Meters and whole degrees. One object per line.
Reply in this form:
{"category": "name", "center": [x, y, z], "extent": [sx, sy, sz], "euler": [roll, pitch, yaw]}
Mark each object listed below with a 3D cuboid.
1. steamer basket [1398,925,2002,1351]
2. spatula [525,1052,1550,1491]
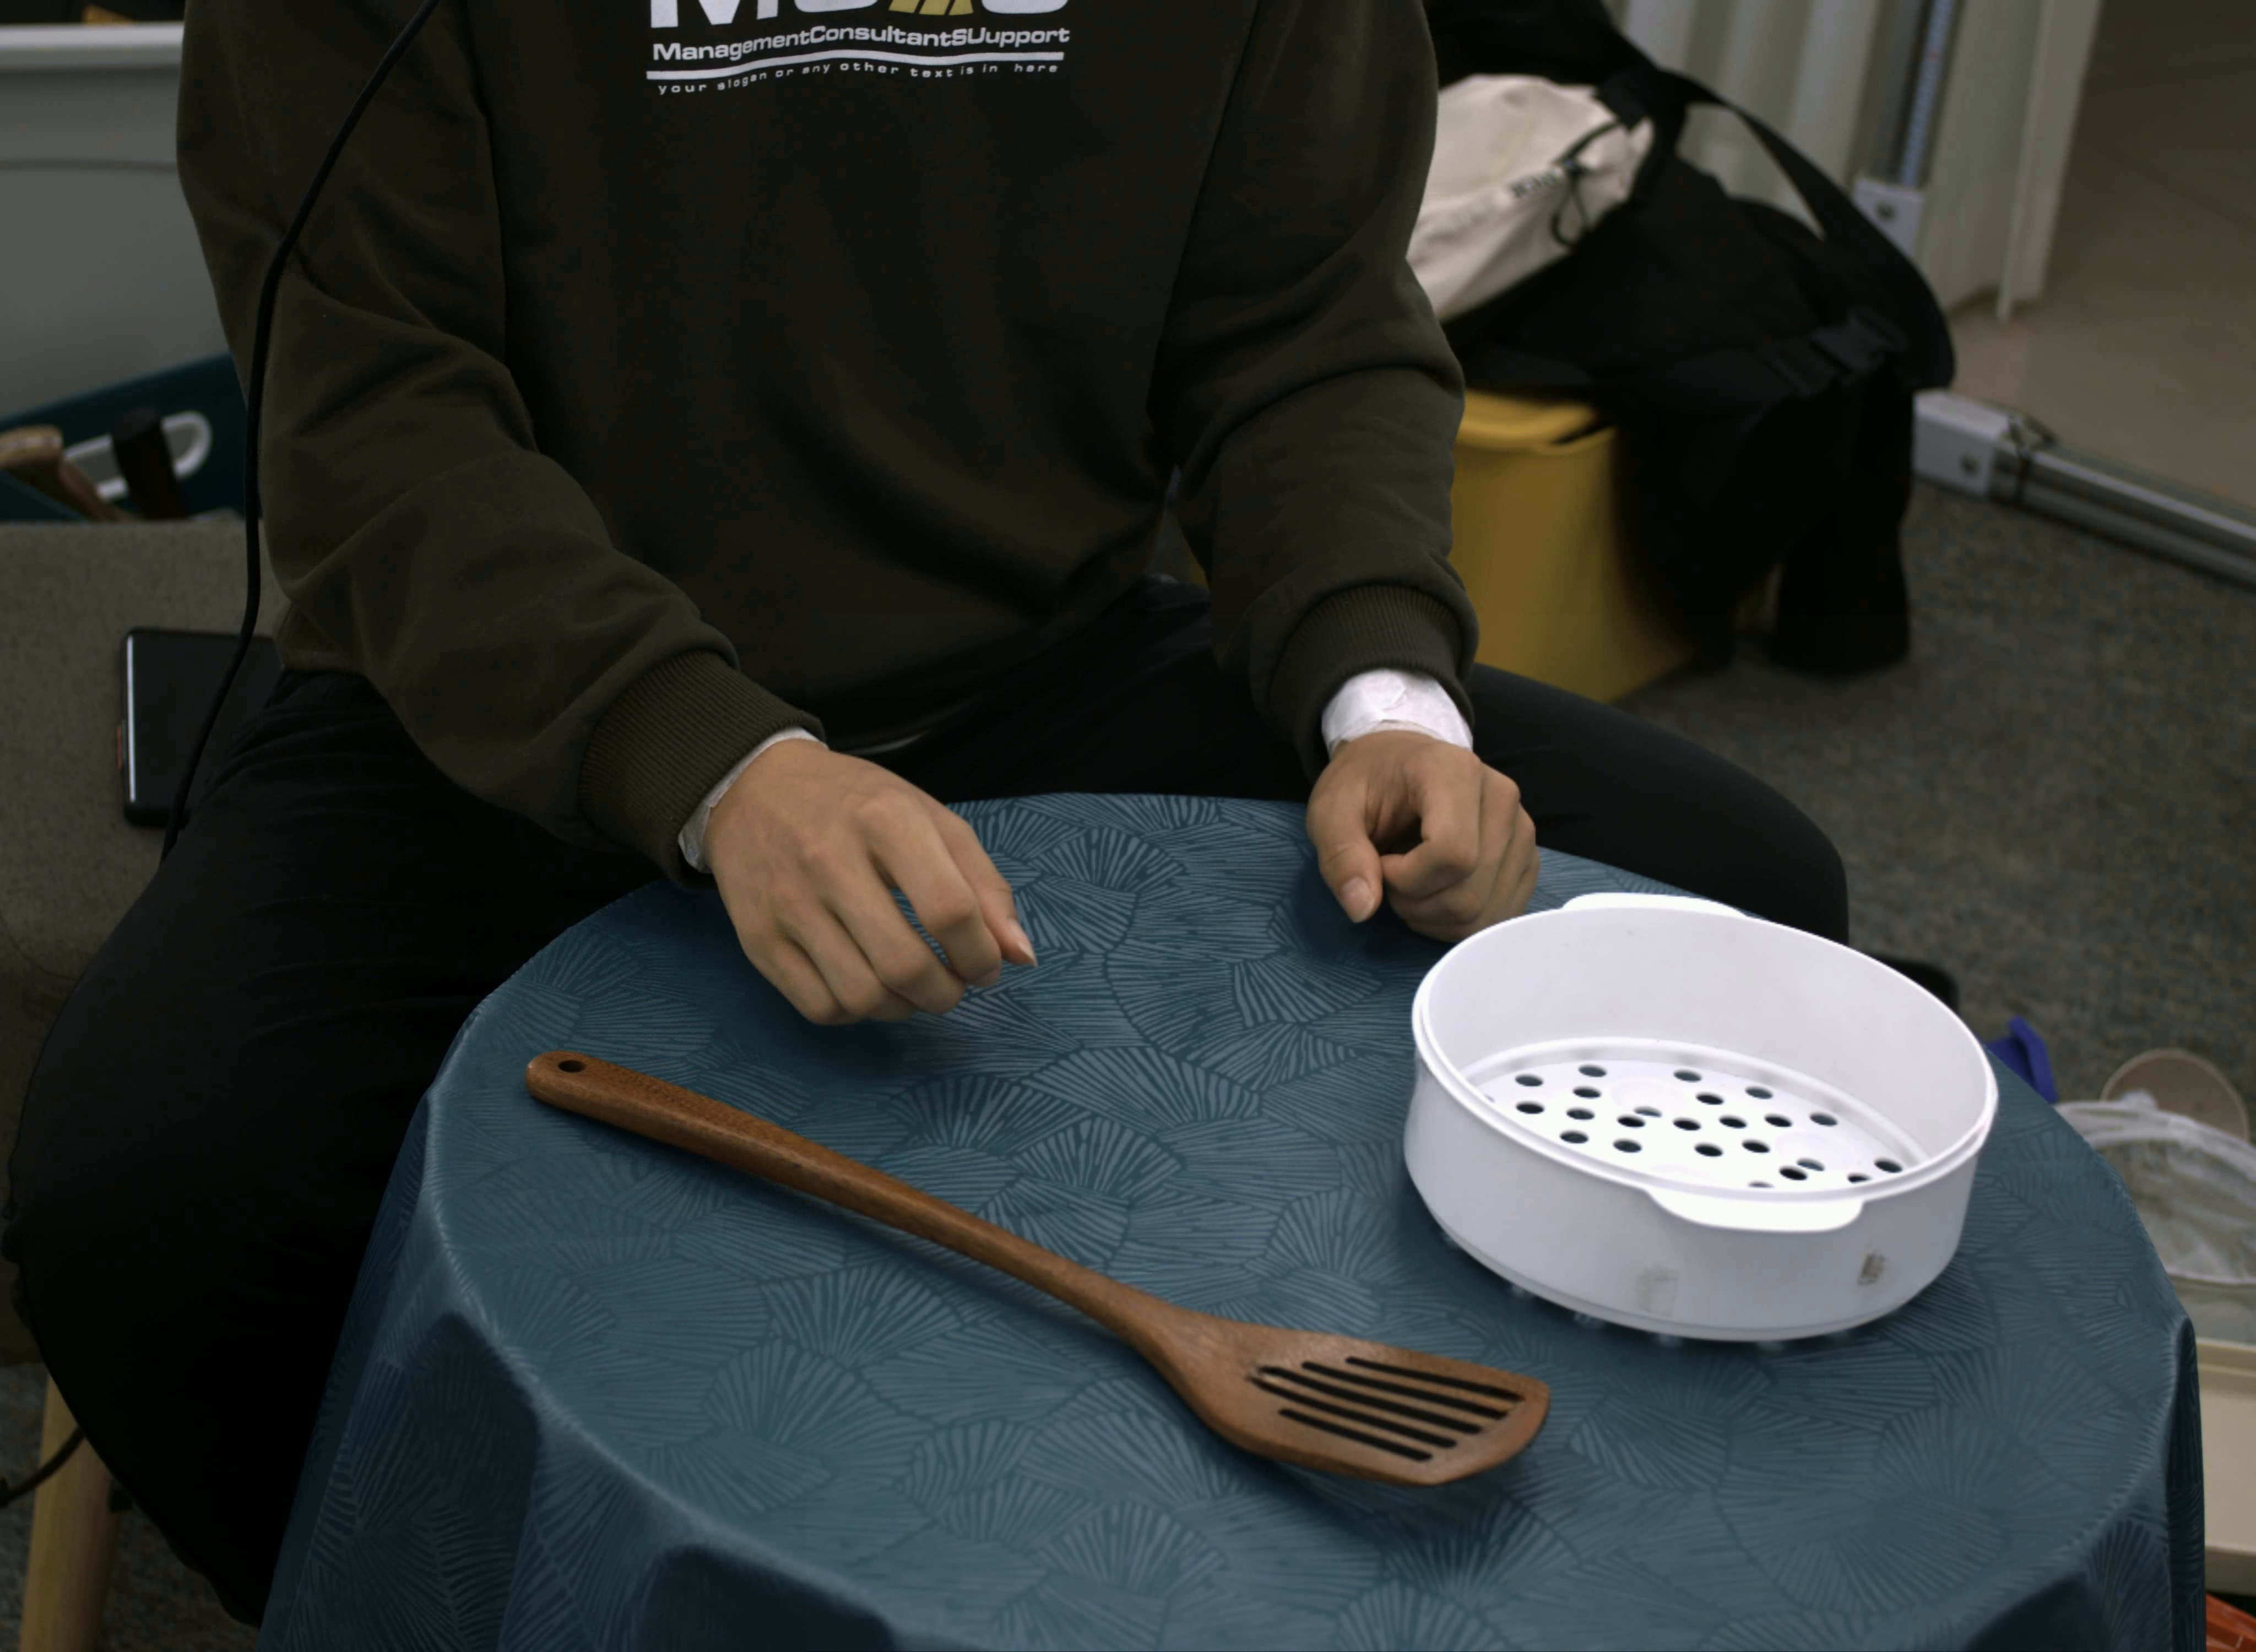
{"category": "steamer basket", "center": [0.193, 0.107, 1.814], "extent": [0.201, 0.069, 0.232], "euler": [5, 23, -7]}
{"category": "spatula", "center": [-0.043, 0.142, 1.736], "extent": [0.387, 0.023, 0.085], "euler": [20, 27, 27]}
